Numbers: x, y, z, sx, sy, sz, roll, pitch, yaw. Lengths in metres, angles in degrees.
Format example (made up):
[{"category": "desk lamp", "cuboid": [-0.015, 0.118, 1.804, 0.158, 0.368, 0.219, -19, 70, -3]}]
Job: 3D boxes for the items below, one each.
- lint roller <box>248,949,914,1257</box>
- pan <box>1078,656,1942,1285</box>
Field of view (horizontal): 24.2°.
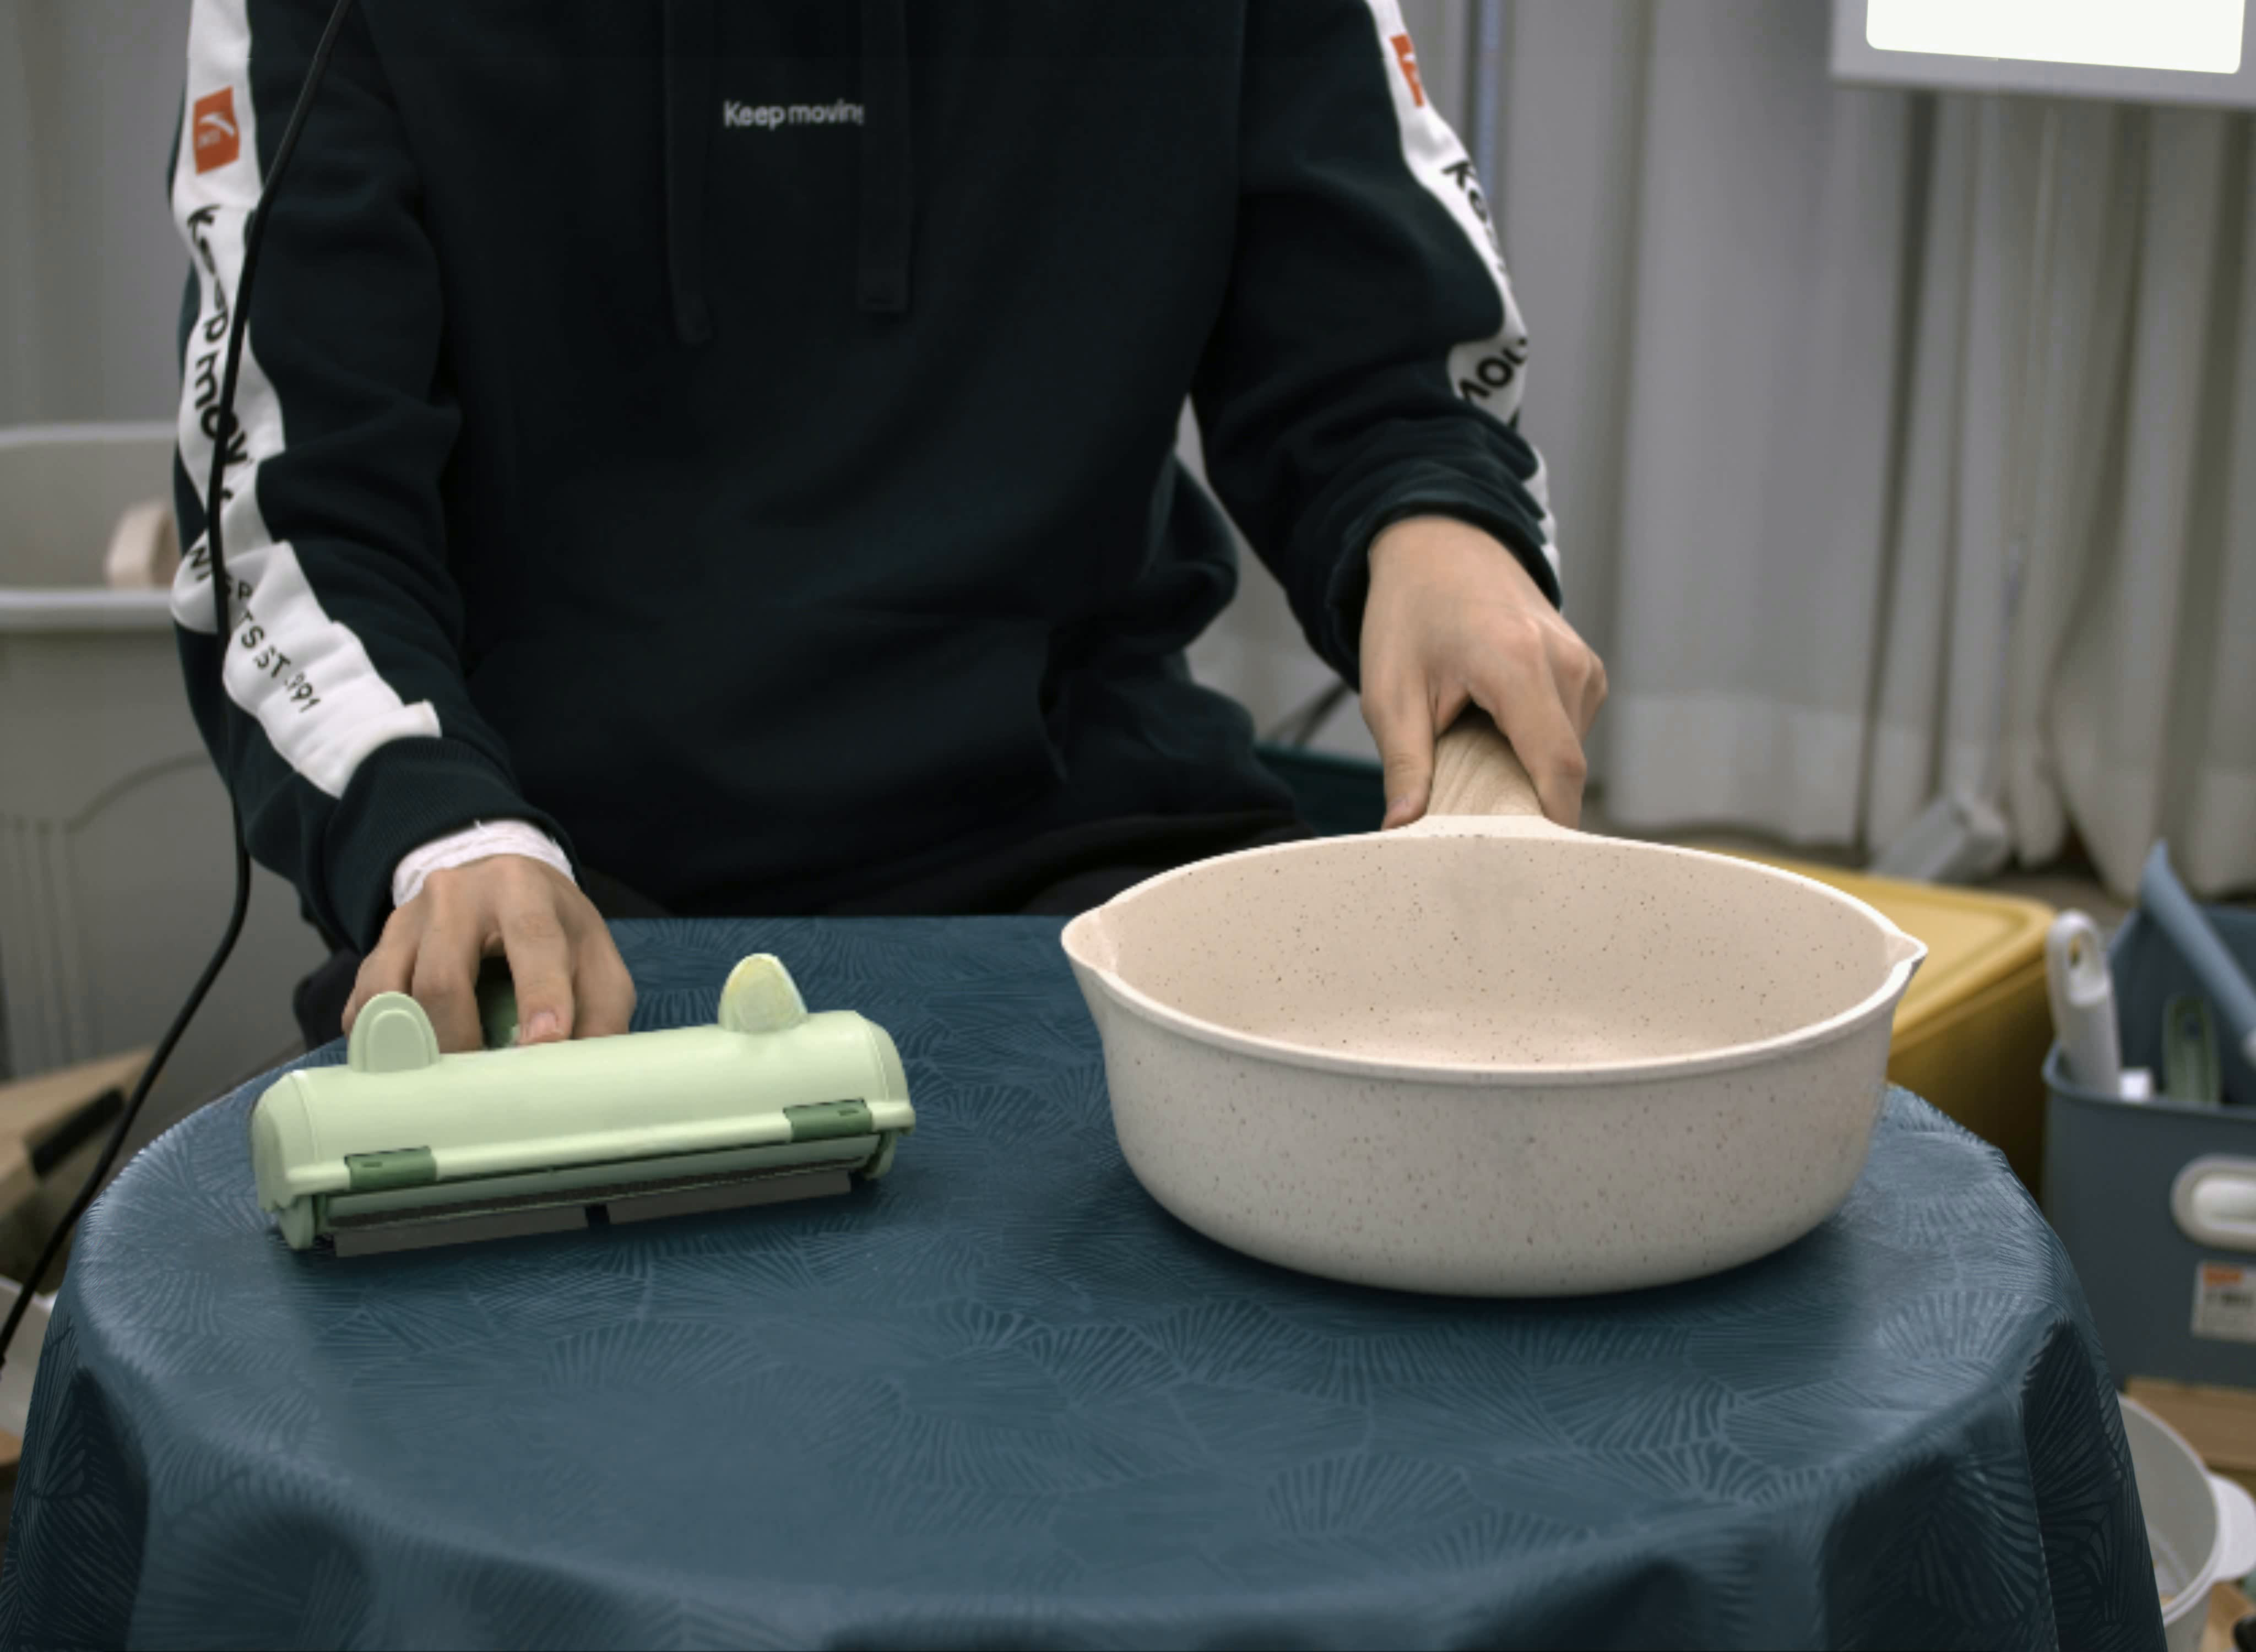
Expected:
[{"category": "lint roller", "cuboid": [-0.184, 0.062, 1.634, 0.199, 0.083, 0.181, -6, 27, -21]}, {"category": "pan", "cuboid": [0.119, 0.042, 1.693, 0.262, 0.103, 0.433, -1, 14, 1]}]
